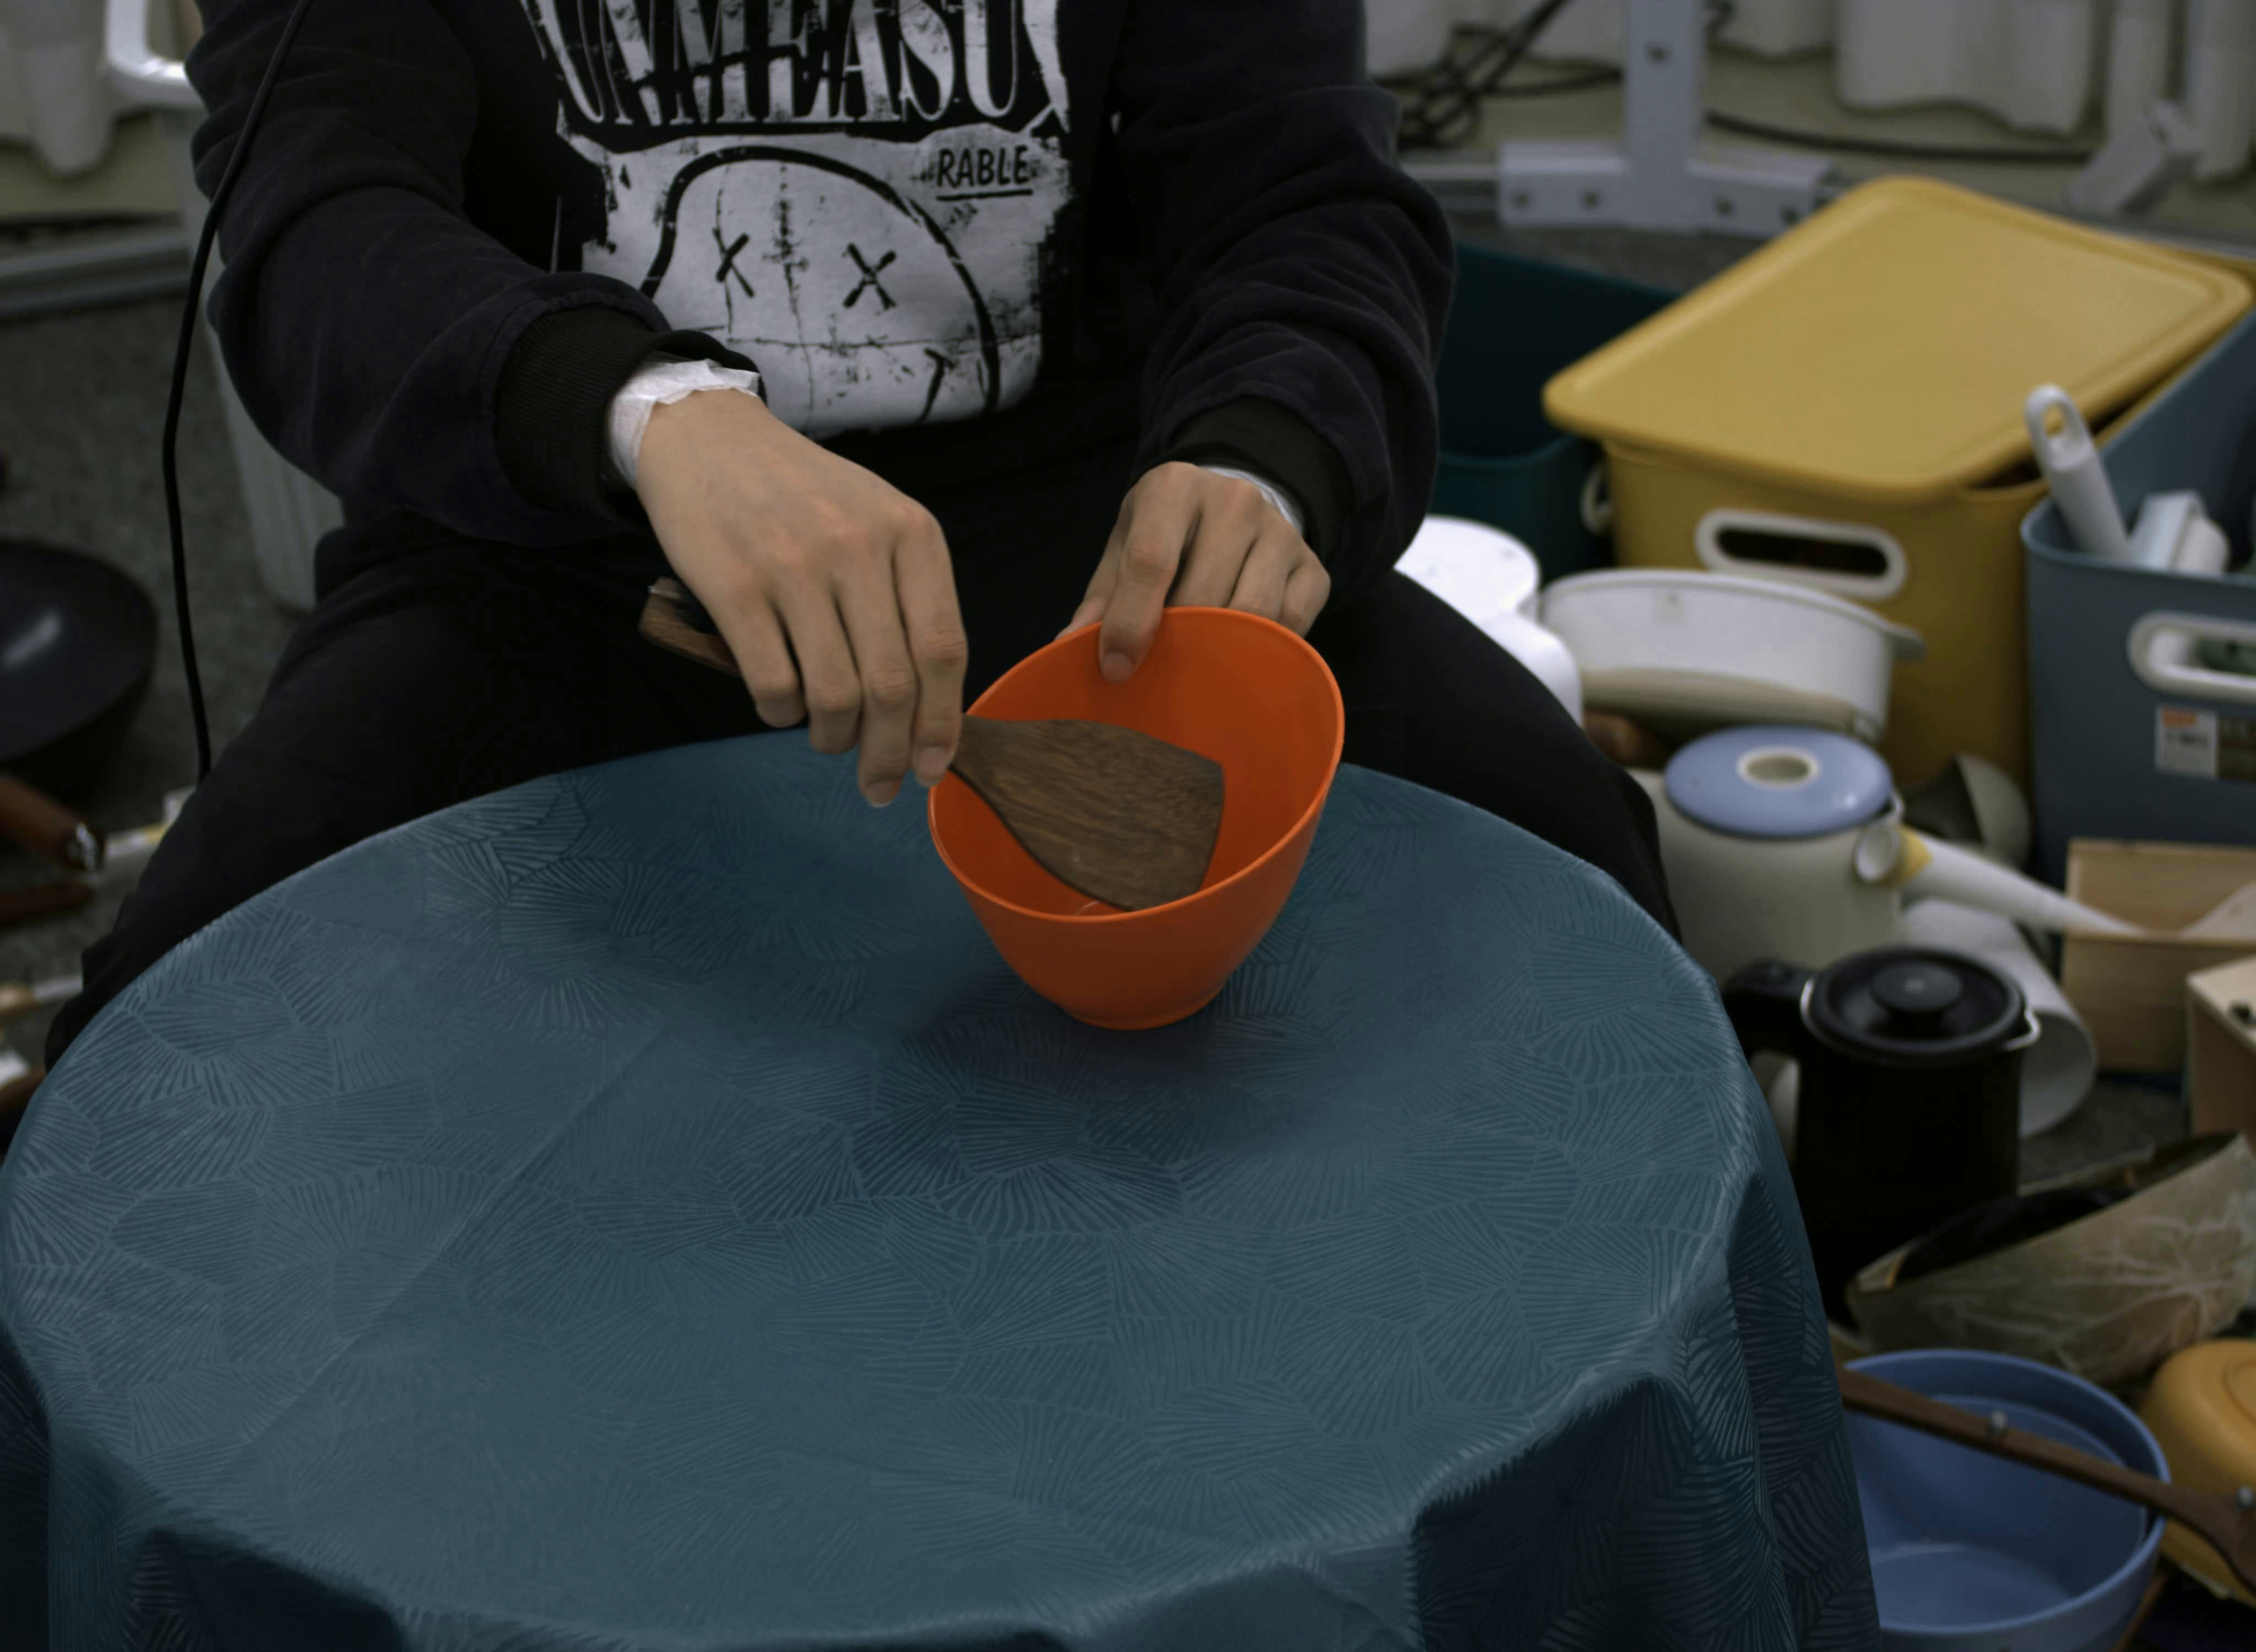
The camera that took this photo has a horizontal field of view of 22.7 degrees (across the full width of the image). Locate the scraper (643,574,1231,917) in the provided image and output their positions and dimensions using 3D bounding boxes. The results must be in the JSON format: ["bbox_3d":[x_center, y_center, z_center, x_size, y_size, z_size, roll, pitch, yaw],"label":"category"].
[{"bbox_3d":[-0.065,-0.034,1.897,0.210,0.010,0.077,24,49,-7],"label":"scraper"}]

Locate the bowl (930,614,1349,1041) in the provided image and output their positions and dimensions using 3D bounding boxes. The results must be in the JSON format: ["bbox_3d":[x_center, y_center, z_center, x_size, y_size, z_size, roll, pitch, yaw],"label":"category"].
[{"bbox_3d":[0.008,0.010,1.953,0.147,0.103,0.151,-4,40,4],"label":"bowl"}]
